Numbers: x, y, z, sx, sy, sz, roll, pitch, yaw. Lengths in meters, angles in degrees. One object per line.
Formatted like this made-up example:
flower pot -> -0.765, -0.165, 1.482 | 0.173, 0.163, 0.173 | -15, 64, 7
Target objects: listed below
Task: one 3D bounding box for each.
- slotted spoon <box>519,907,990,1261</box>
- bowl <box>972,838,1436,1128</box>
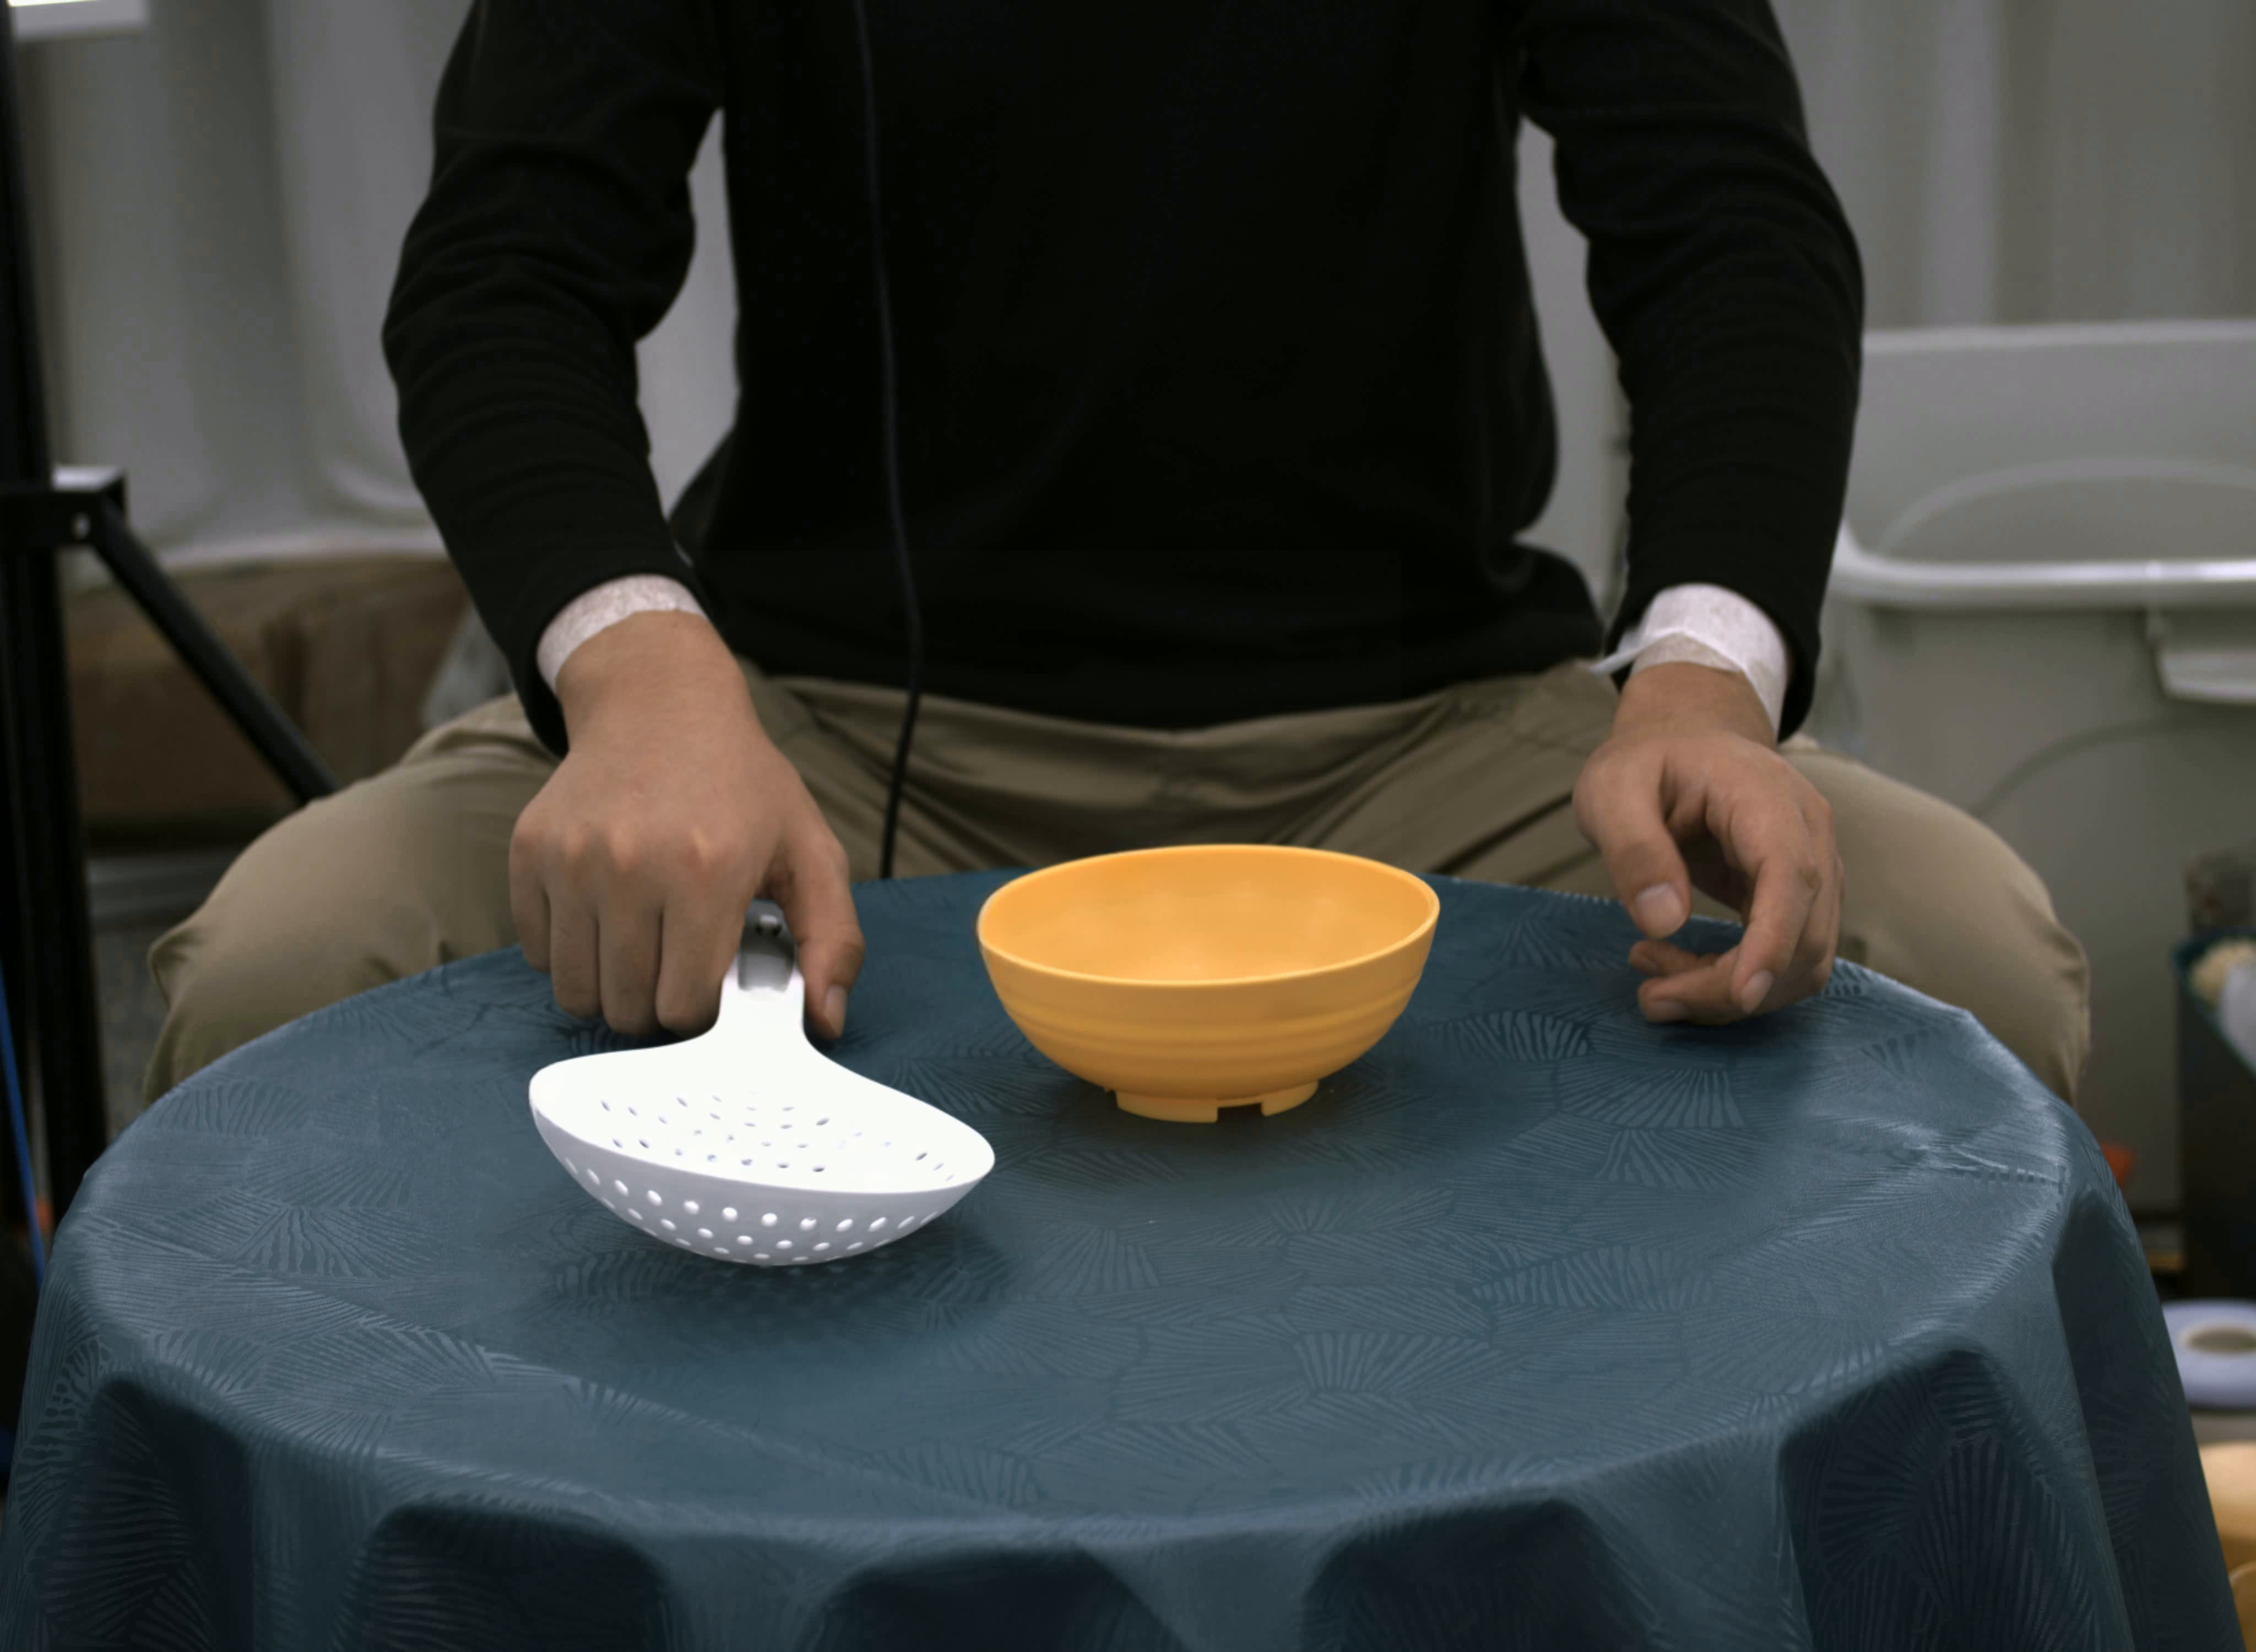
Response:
slotted spoon -> -0.113, 0.069, 1.619 | 0.135, 0.046, 0.352 | 8, 15, -5
bowl -> 0.024, 0.054, 1.641 | 0.144, 0.060, 0.146 | -2, 18, -1
